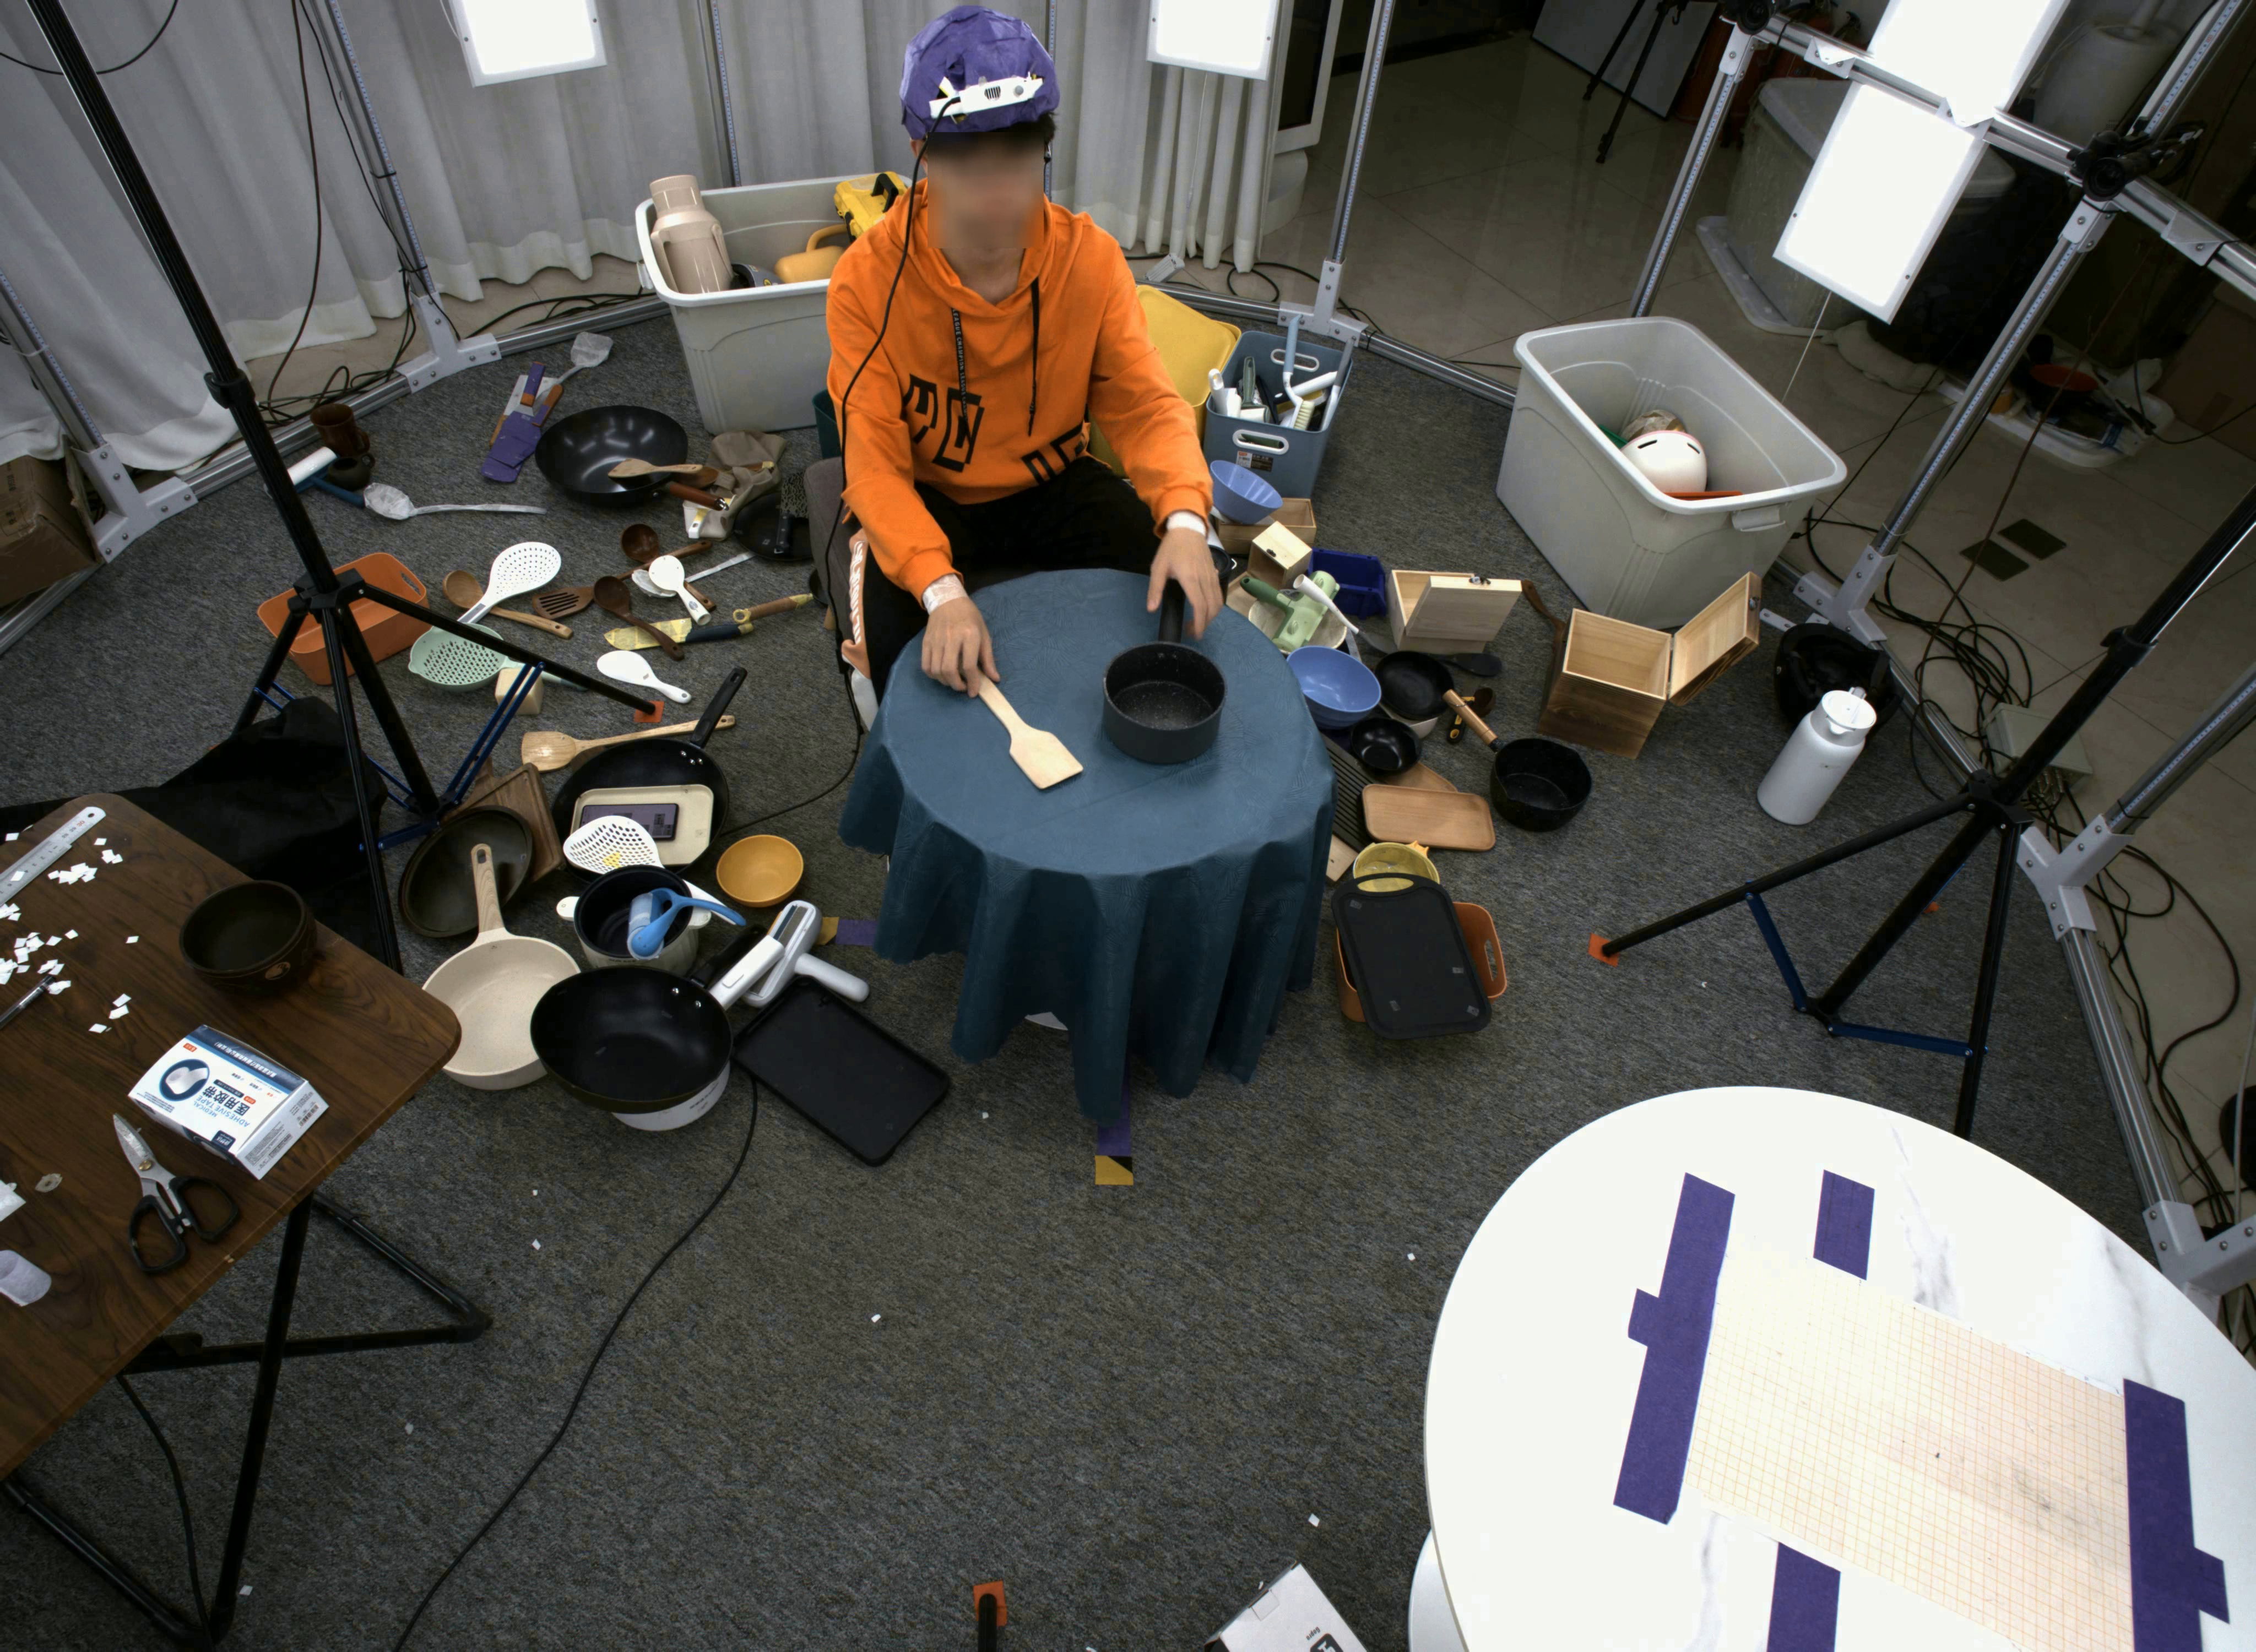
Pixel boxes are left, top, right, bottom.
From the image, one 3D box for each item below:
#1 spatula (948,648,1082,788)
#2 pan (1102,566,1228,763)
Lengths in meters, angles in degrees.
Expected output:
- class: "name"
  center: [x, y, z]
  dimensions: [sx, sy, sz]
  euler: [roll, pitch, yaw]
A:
- class: "spatula"
  center: [-0.171, -0.157, 1.788]
  dimensions: [0.072, 0.010, 0.299]
  euler: [-27, 56, -21]
- class: "pan"
  center: [0.059, -0.232, 1.820]
  dimensions: [0.172, 0.084, 0.336]
  euler: [8, 51, 3]
